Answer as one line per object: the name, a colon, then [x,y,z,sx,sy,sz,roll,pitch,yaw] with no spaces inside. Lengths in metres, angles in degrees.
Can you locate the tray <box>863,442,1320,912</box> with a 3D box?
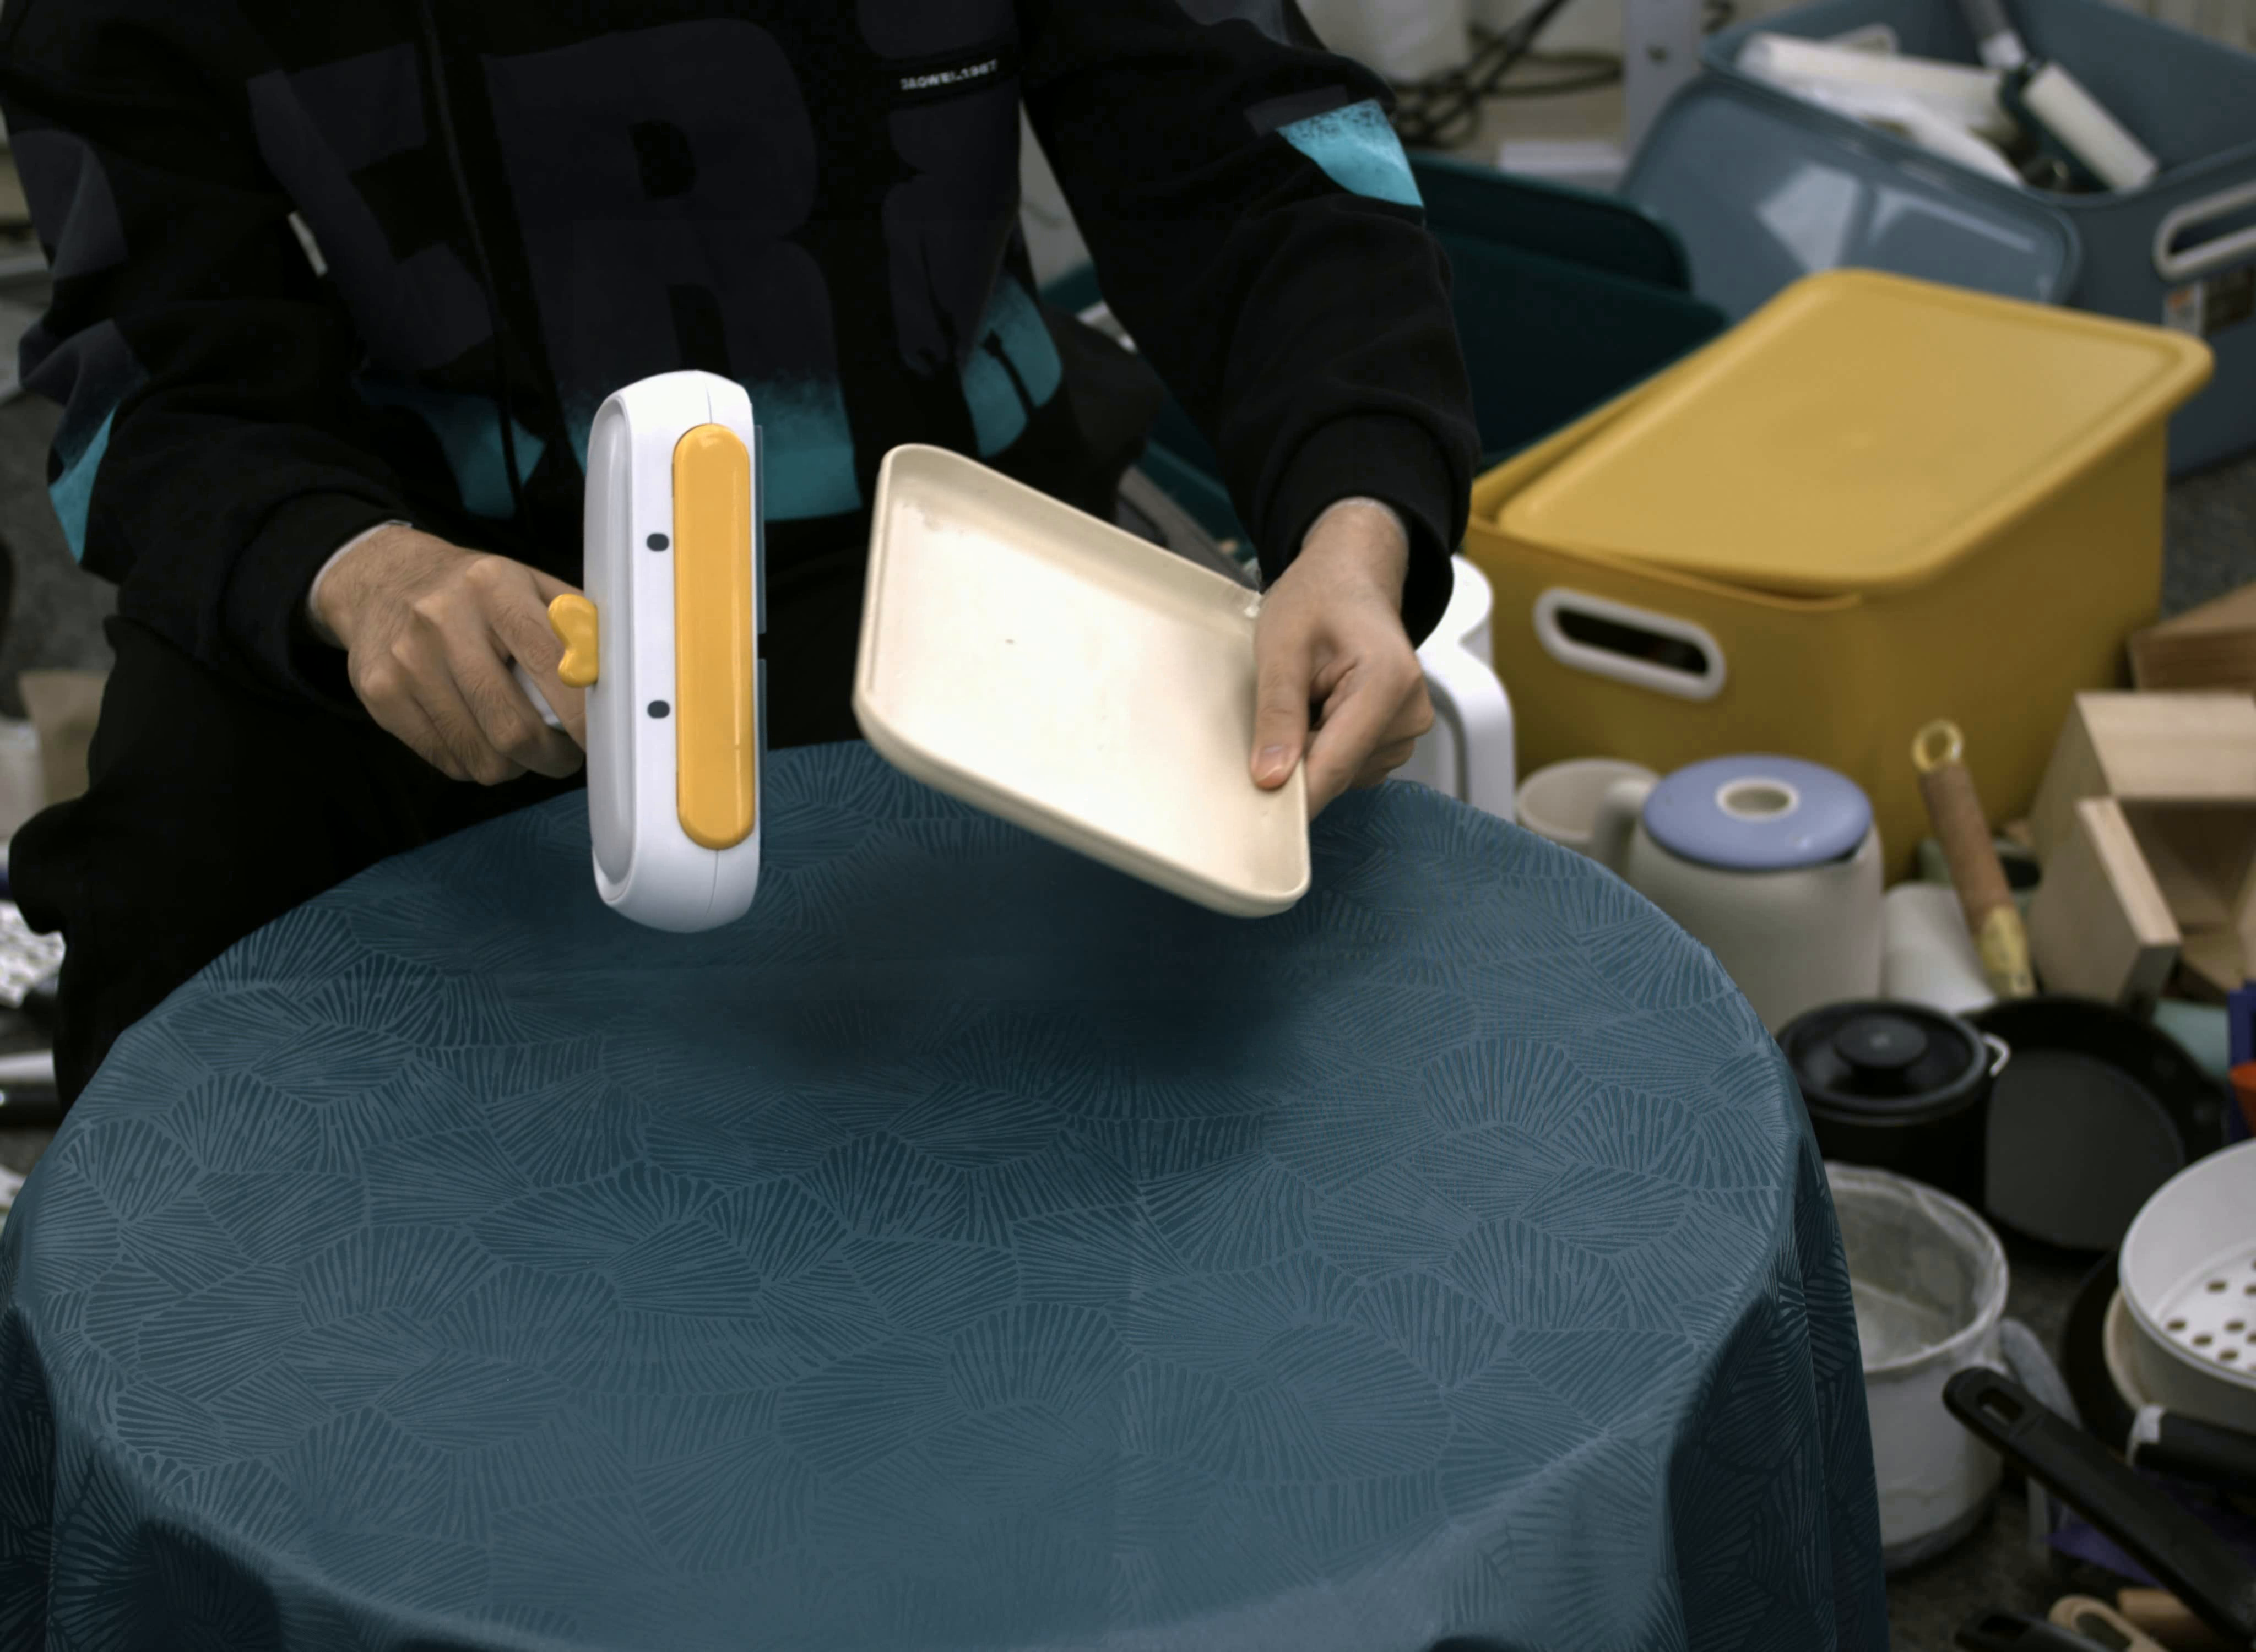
tray: [-0.014,-0.052,1.966,0.171,0.017,0.243,24,25,-12]

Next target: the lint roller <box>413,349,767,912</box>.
lint roller: [-0.189,-0.055,1.966,0.074,0.195,0.190,-1,-12,-30]
